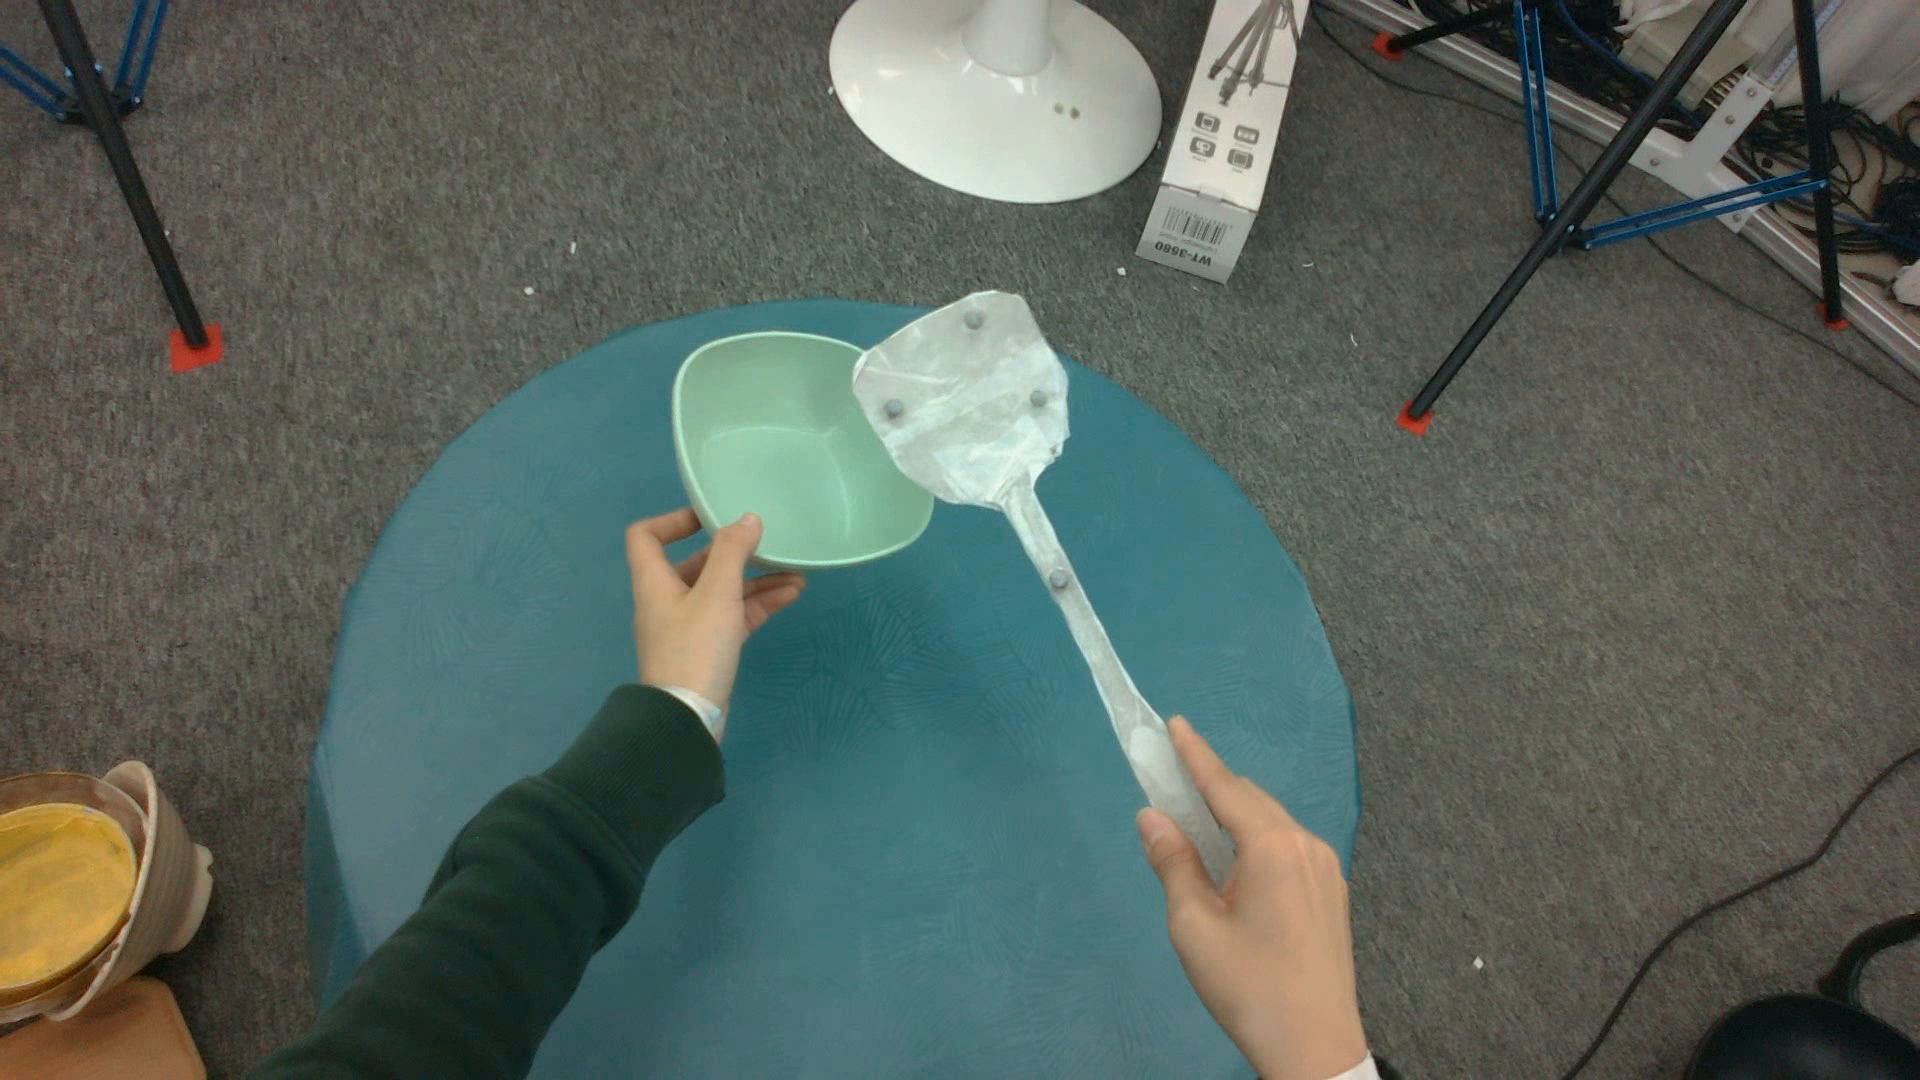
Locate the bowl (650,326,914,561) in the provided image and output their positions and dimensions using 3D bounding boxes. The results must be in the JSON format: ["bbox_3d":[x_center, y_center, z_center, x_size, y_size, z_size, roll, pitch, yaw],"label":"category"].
[{"bbox_3d":[-0.101,-0.042,0.731,0.151,0.058,0.152,16,53,-22],"label":"bowl"}]

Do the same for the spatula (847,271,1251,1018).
[{"bbox_3d":[0.048,0.028,0.612,0.099,0.044,0.366,-22,60,-3],"label":"spatula"}]
